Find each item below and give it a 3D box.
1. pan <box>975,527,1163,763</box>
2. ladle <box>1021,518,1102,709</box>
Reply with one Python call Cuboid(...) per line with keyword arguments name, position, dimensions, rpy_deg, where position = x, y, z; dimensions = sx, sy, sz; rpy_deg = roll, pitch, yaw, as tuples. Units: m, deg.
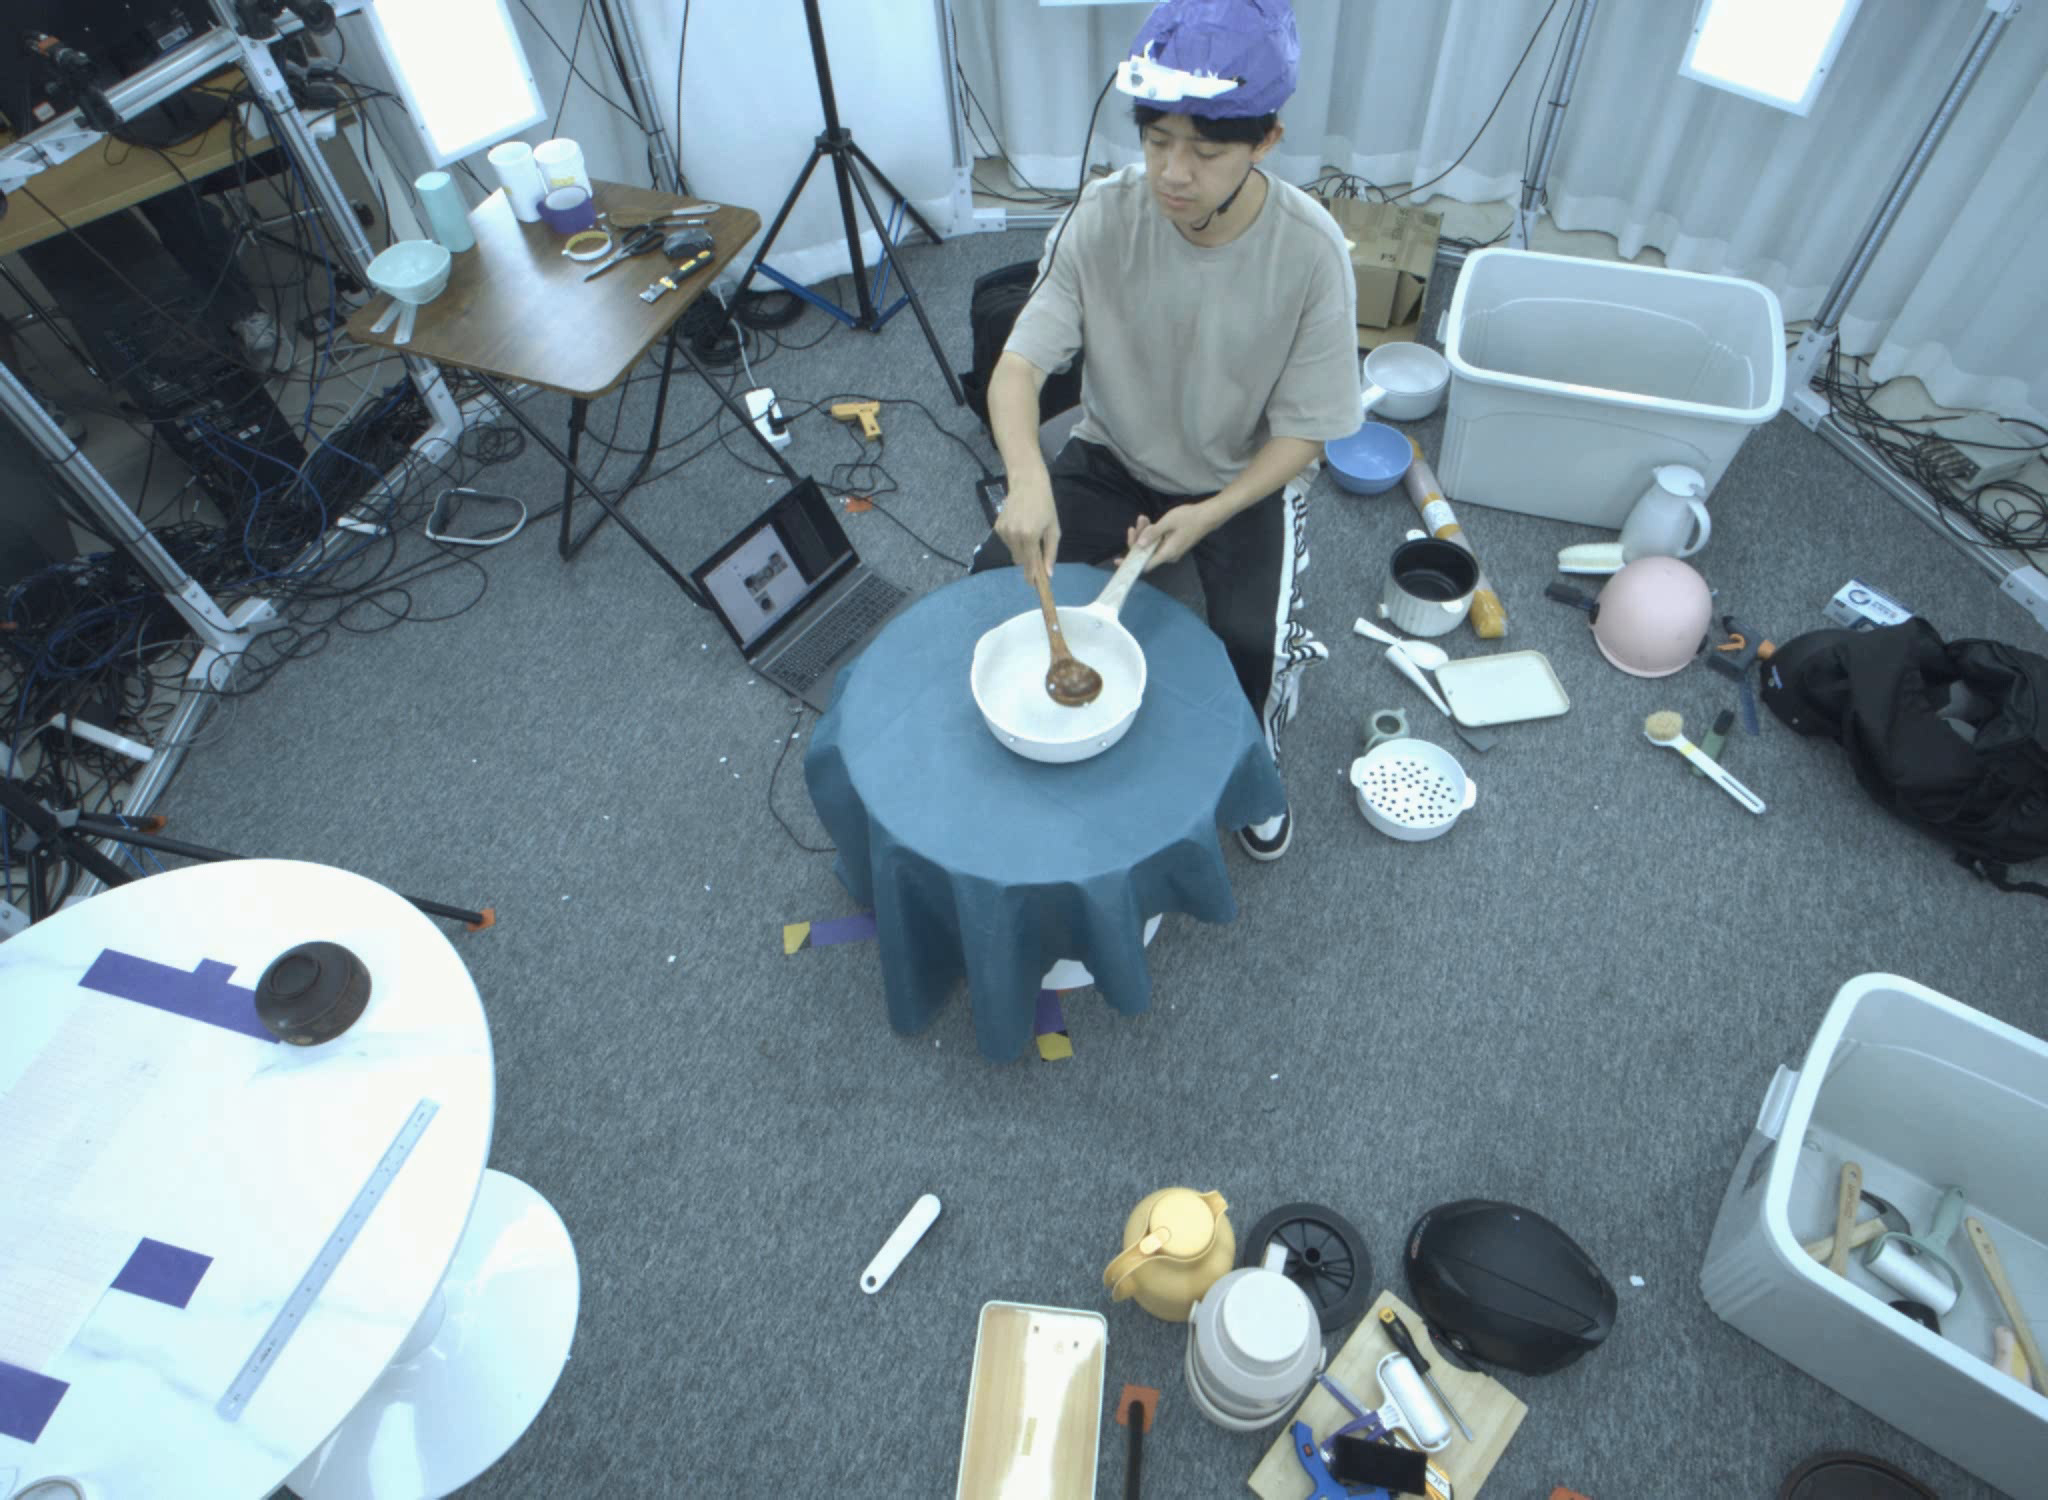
Cuboid(name="pan", position=(0.102, -0.159, 1.832), dimensions=(0.259, 0.103, 0.436), rpy_deg=(23, 59, 20))
Cuboid(name="ladle", position=(0.042, -0.191, 1.704), dimensions=(0.083, 0.075, 0.275), rpy_deg=(-16, 98, -21))
